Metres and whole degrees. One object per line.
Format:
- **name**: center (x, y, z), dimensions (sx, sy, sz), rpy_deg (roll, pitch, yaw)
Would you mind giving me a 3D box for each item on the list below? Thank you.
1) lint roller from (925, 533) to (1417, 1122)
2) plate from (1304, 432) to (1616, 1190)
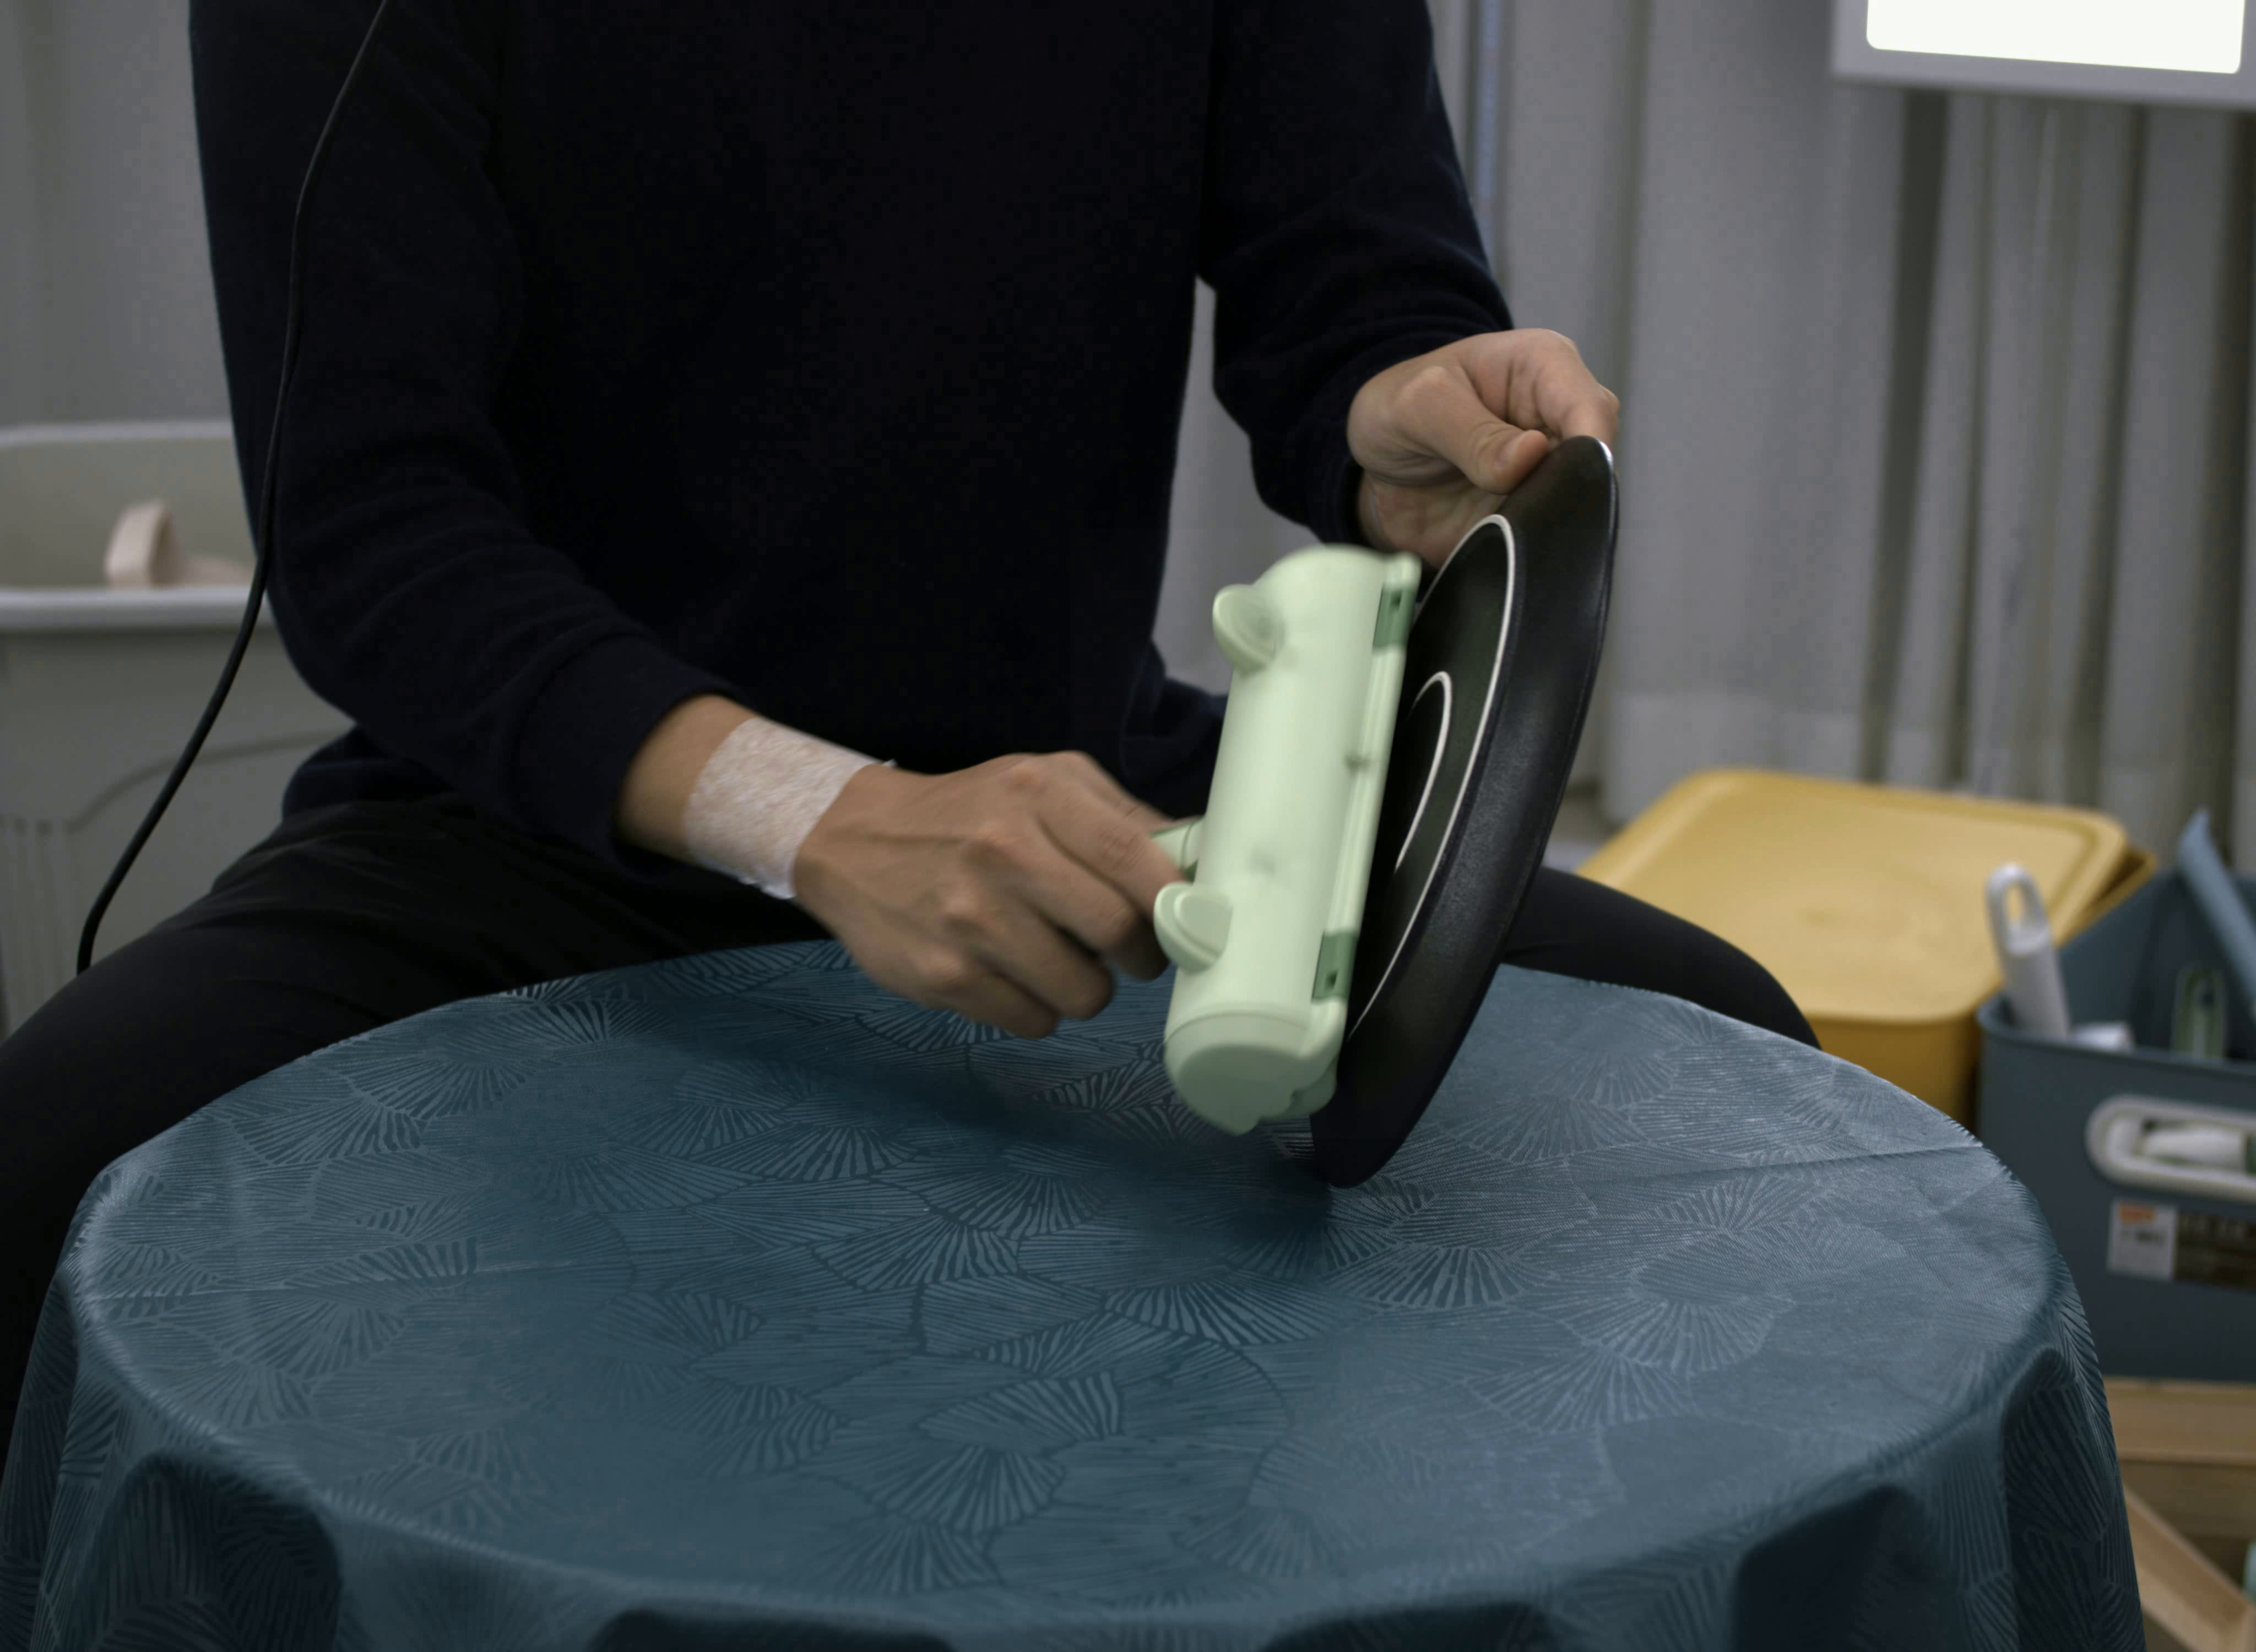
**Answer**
- **lint roller**: center (0.000, 0.004, 1.643), dimensions (0.182, 0.083, 0.197), rpy_deg (-12, 48, 27)
- **plate**: center (0.093, -0.008, 1.614), dimensions (0.023, 0.245, 0.243), rpy_deg (18, 14, -8)
